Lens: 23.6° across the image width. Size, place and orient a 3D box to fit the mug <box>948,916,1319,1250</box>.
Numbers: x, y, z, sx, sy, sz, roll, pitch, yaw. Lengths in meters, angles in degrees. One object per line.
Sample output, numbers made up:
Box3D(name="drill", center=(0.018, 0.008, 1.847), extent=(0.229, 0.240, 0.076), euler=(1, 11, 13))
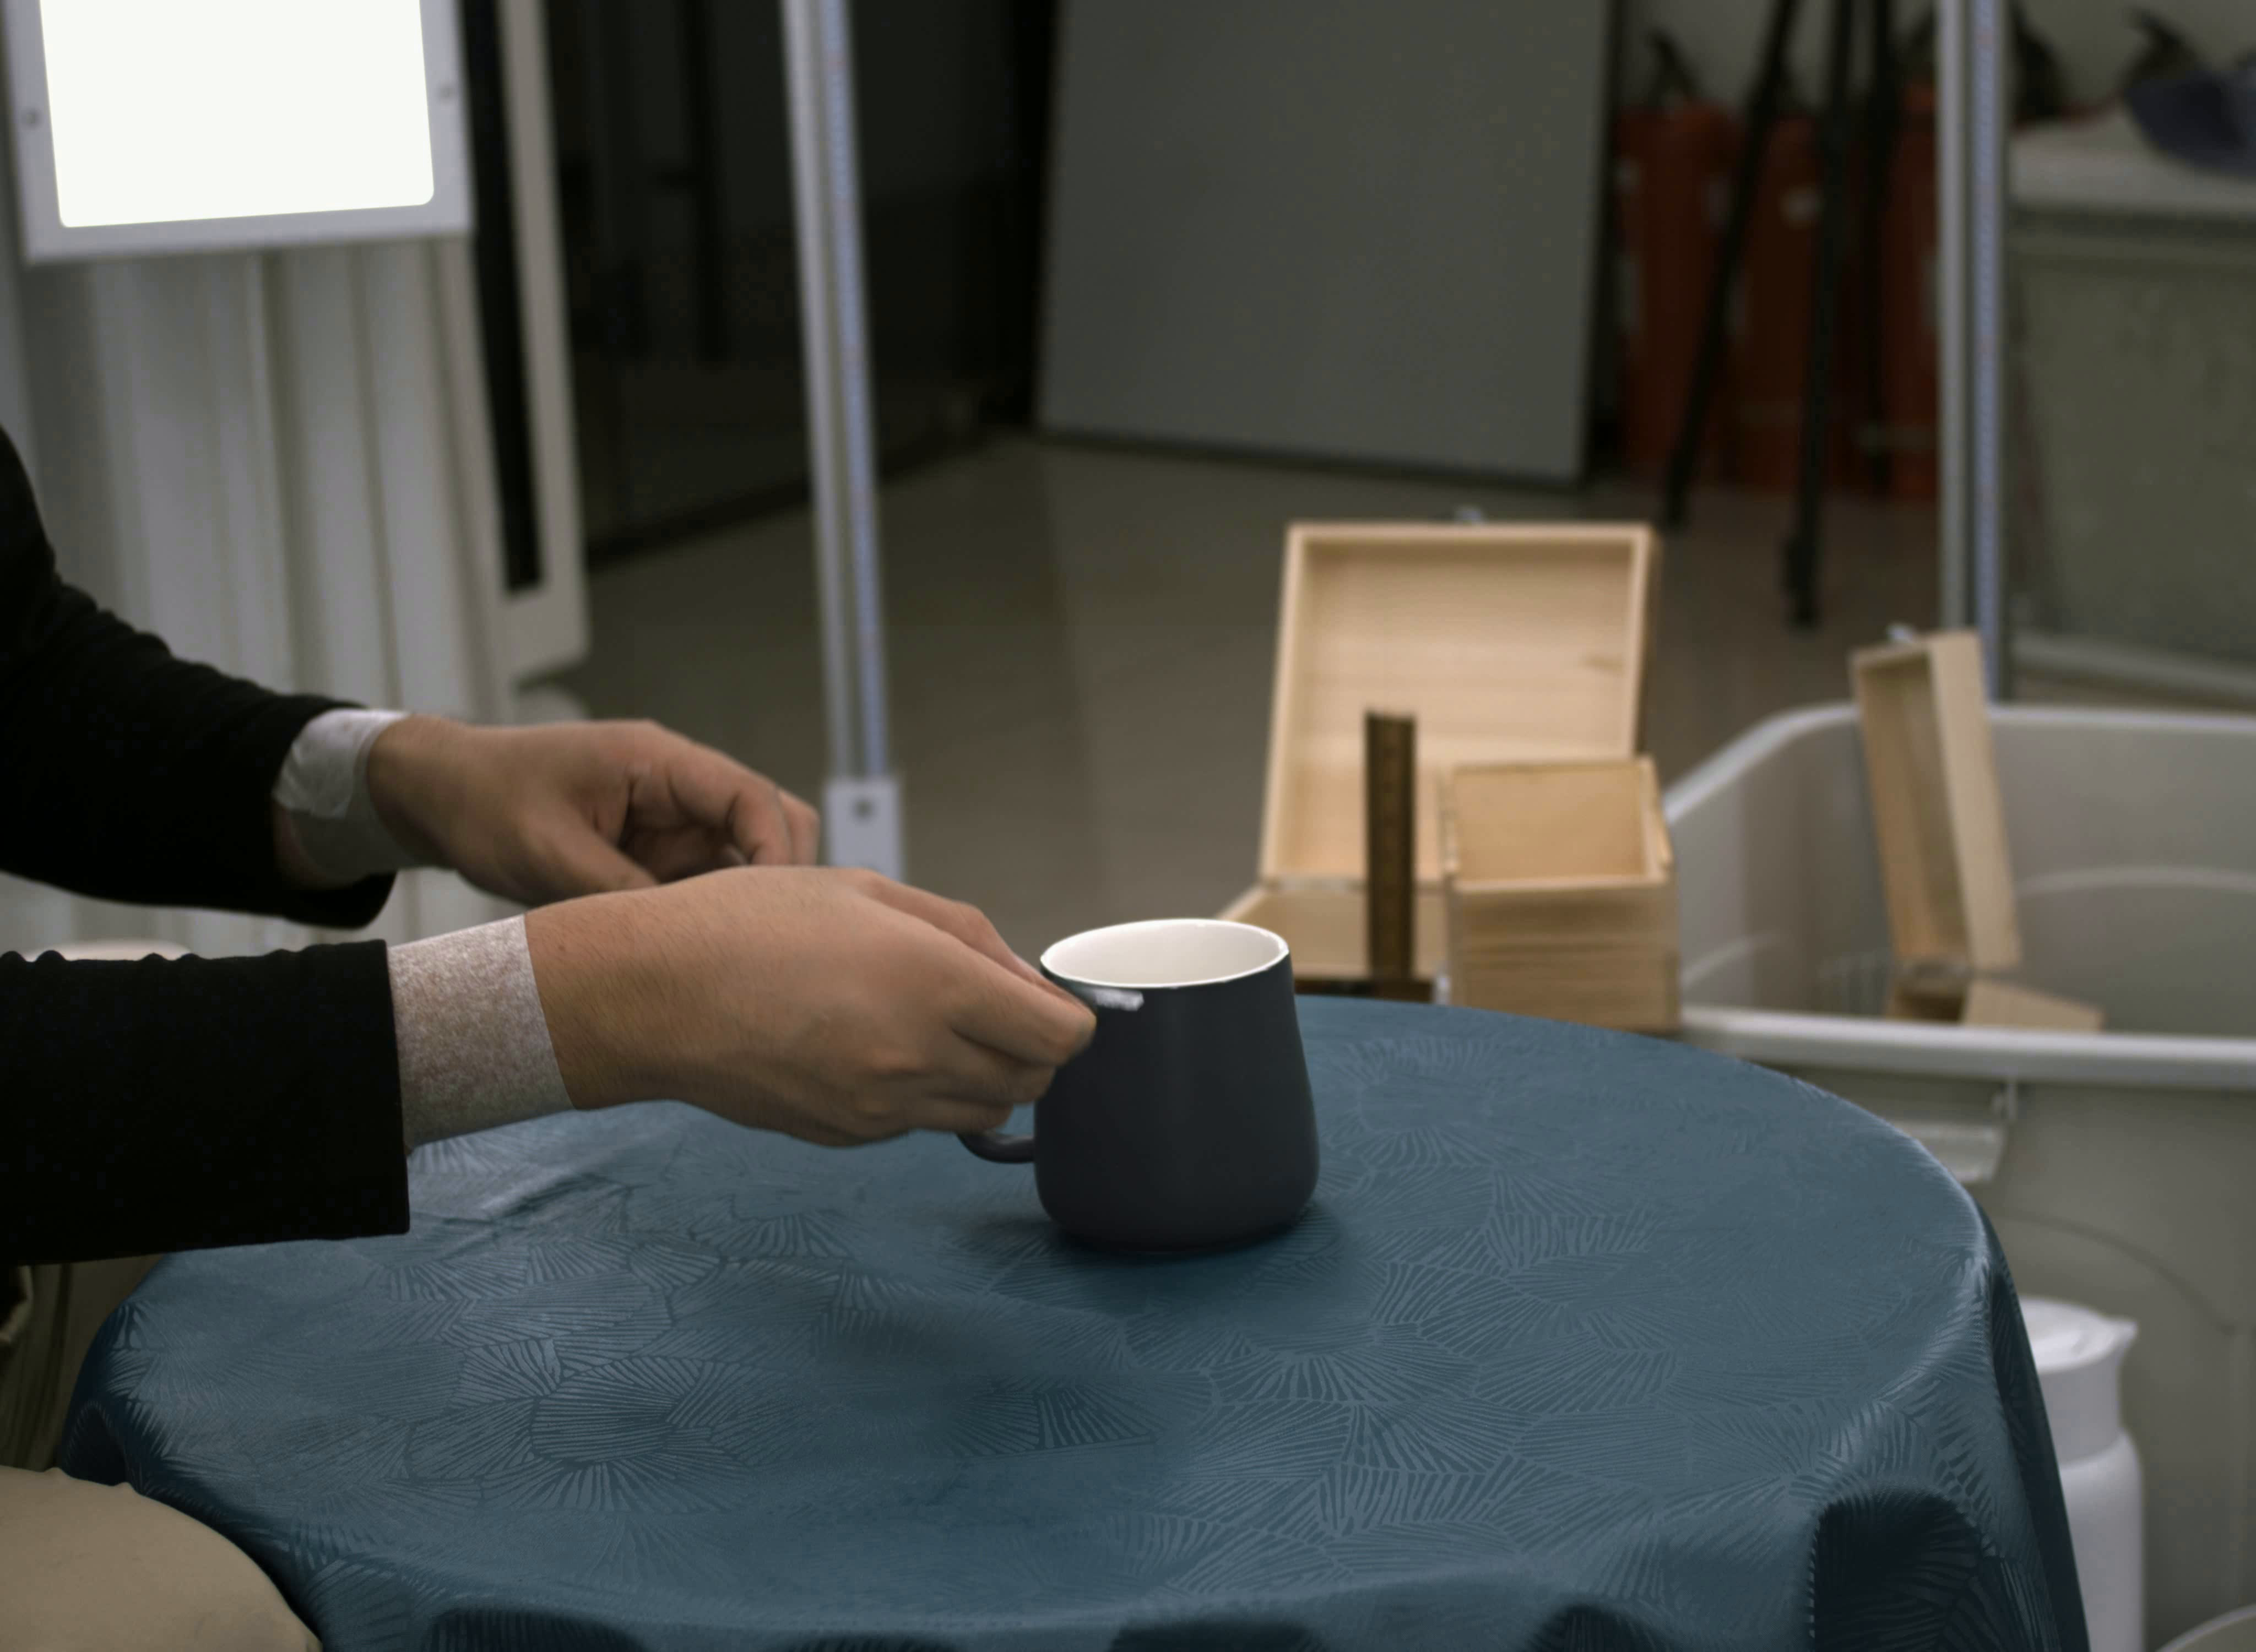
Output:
Box3D(name="mug", center=(0.000, 0.081, 1.734), extent=(0.123, 0.091, 0.092), euler=(2, 14, 19))

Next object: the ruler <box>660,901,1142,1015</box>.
Box3D(name="ruler", center=(-0.078, 0.040, 1.682), extent=(0.037, 0.024, 0.220), euler=(-14, 10, -37))
